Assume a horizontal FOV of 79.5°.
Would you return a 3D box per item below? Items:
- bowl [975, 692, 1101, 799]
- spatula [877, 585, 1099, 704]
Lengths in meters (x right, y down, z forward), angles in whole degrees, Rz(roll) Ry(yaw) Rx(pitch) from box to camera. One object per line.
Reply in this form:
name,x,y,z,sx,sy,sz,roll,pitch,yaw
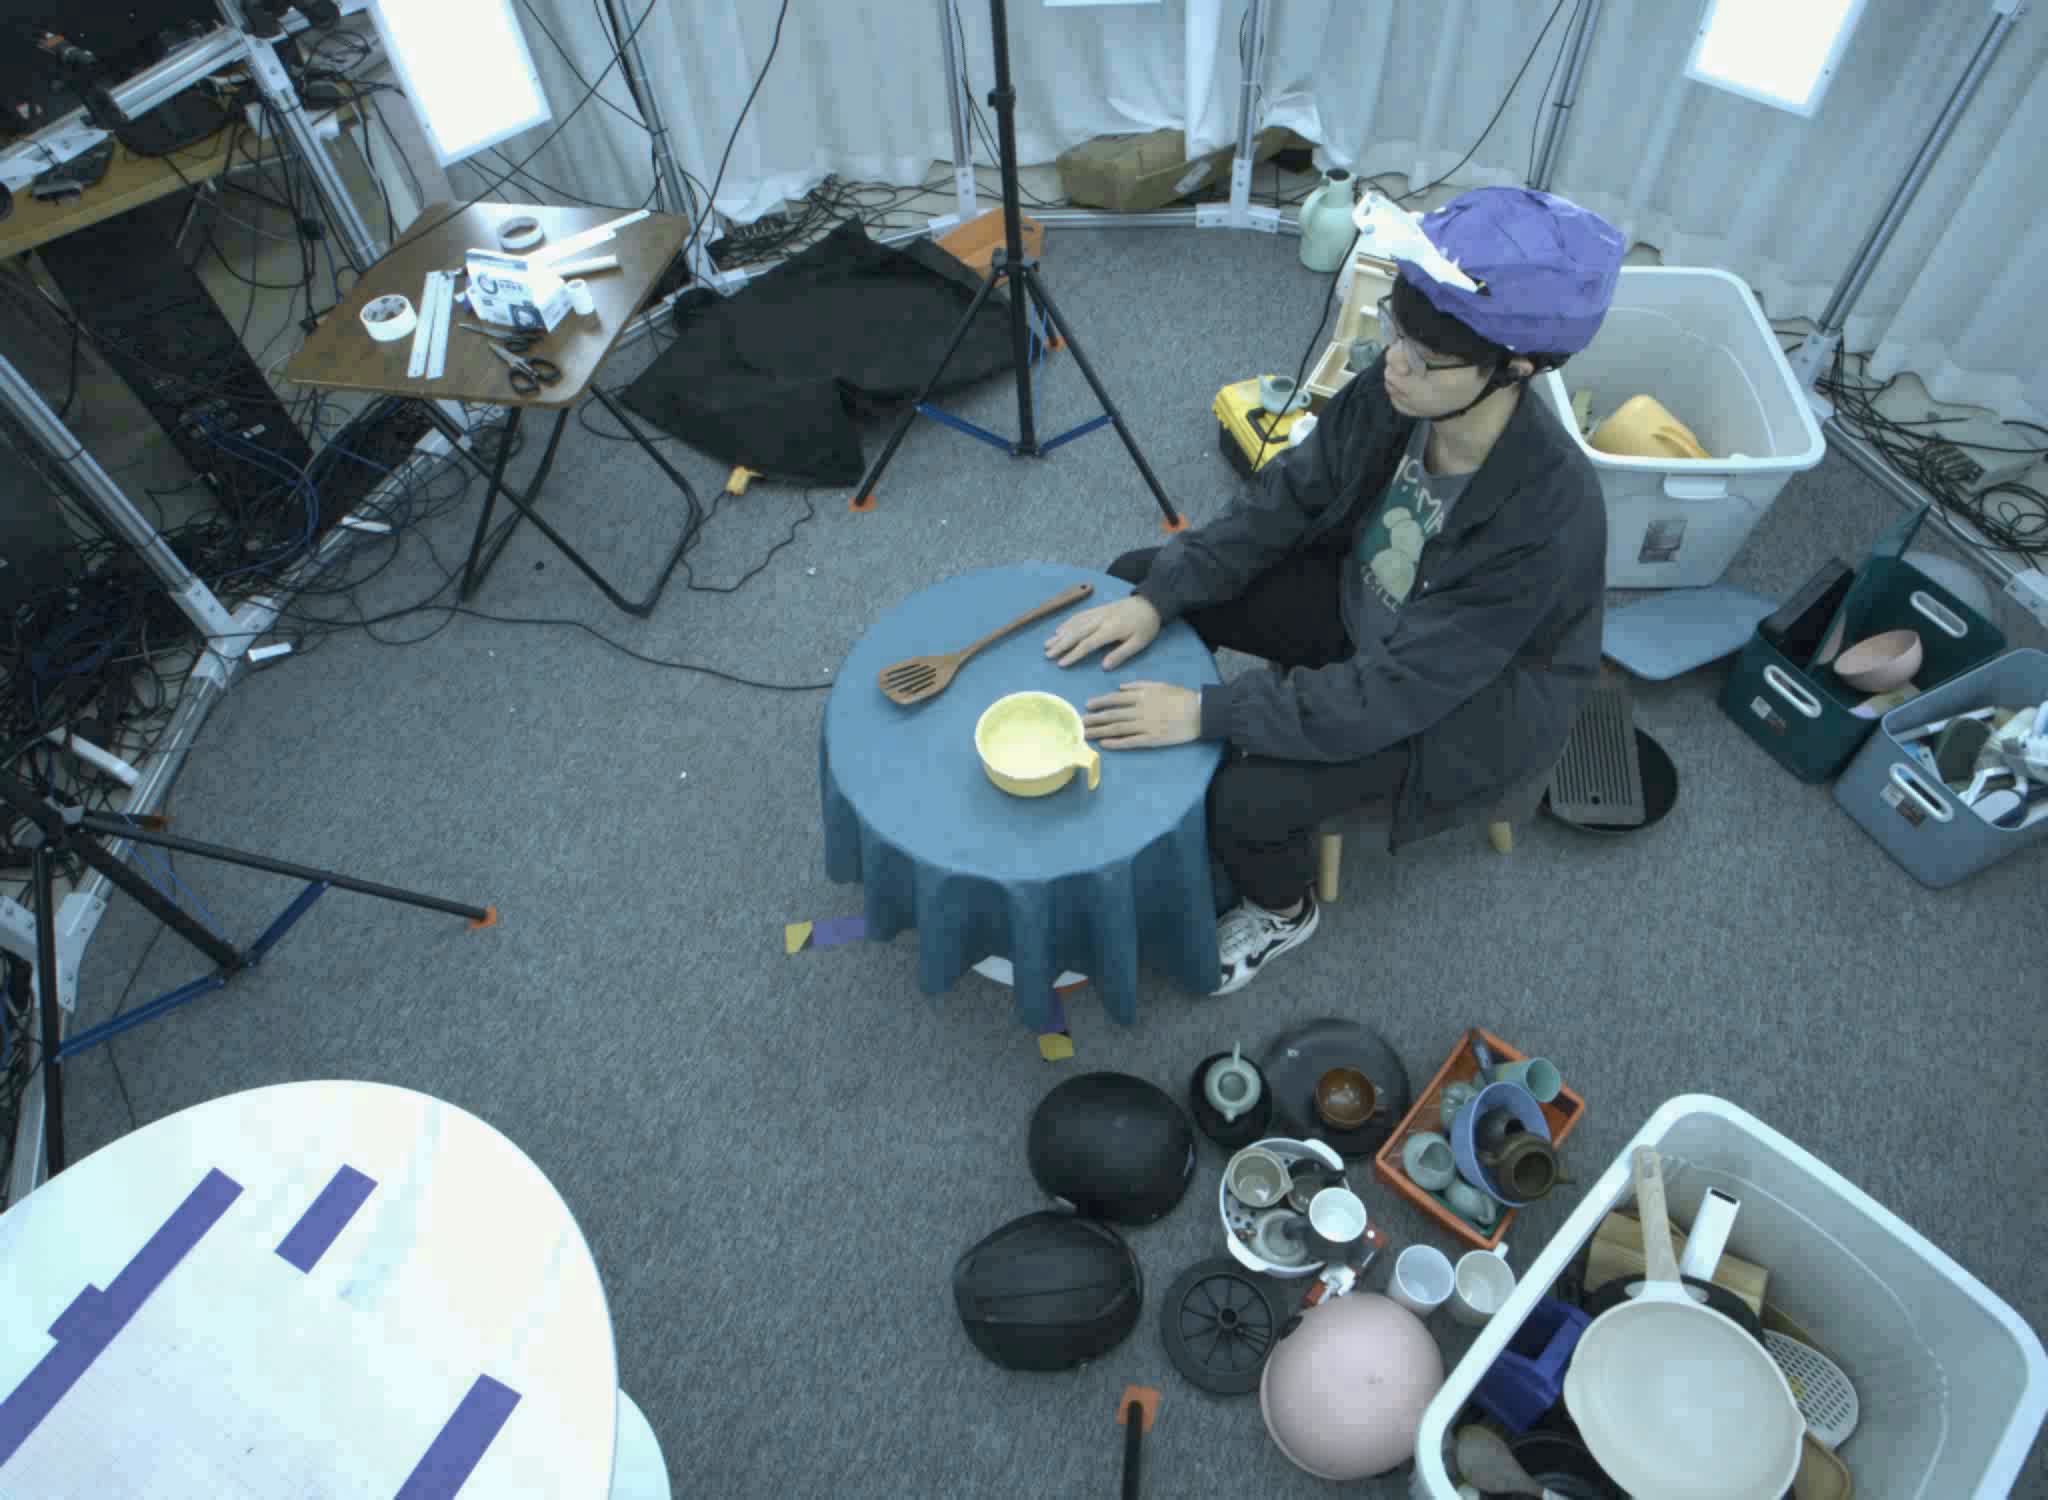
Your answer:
bowl,0.022,0.003,1.737,0.177,0.075,0.153,17,57,14
spatula,-0.047,-0.170,1.891,0.390,0.024,0.084,-28,59,-19
